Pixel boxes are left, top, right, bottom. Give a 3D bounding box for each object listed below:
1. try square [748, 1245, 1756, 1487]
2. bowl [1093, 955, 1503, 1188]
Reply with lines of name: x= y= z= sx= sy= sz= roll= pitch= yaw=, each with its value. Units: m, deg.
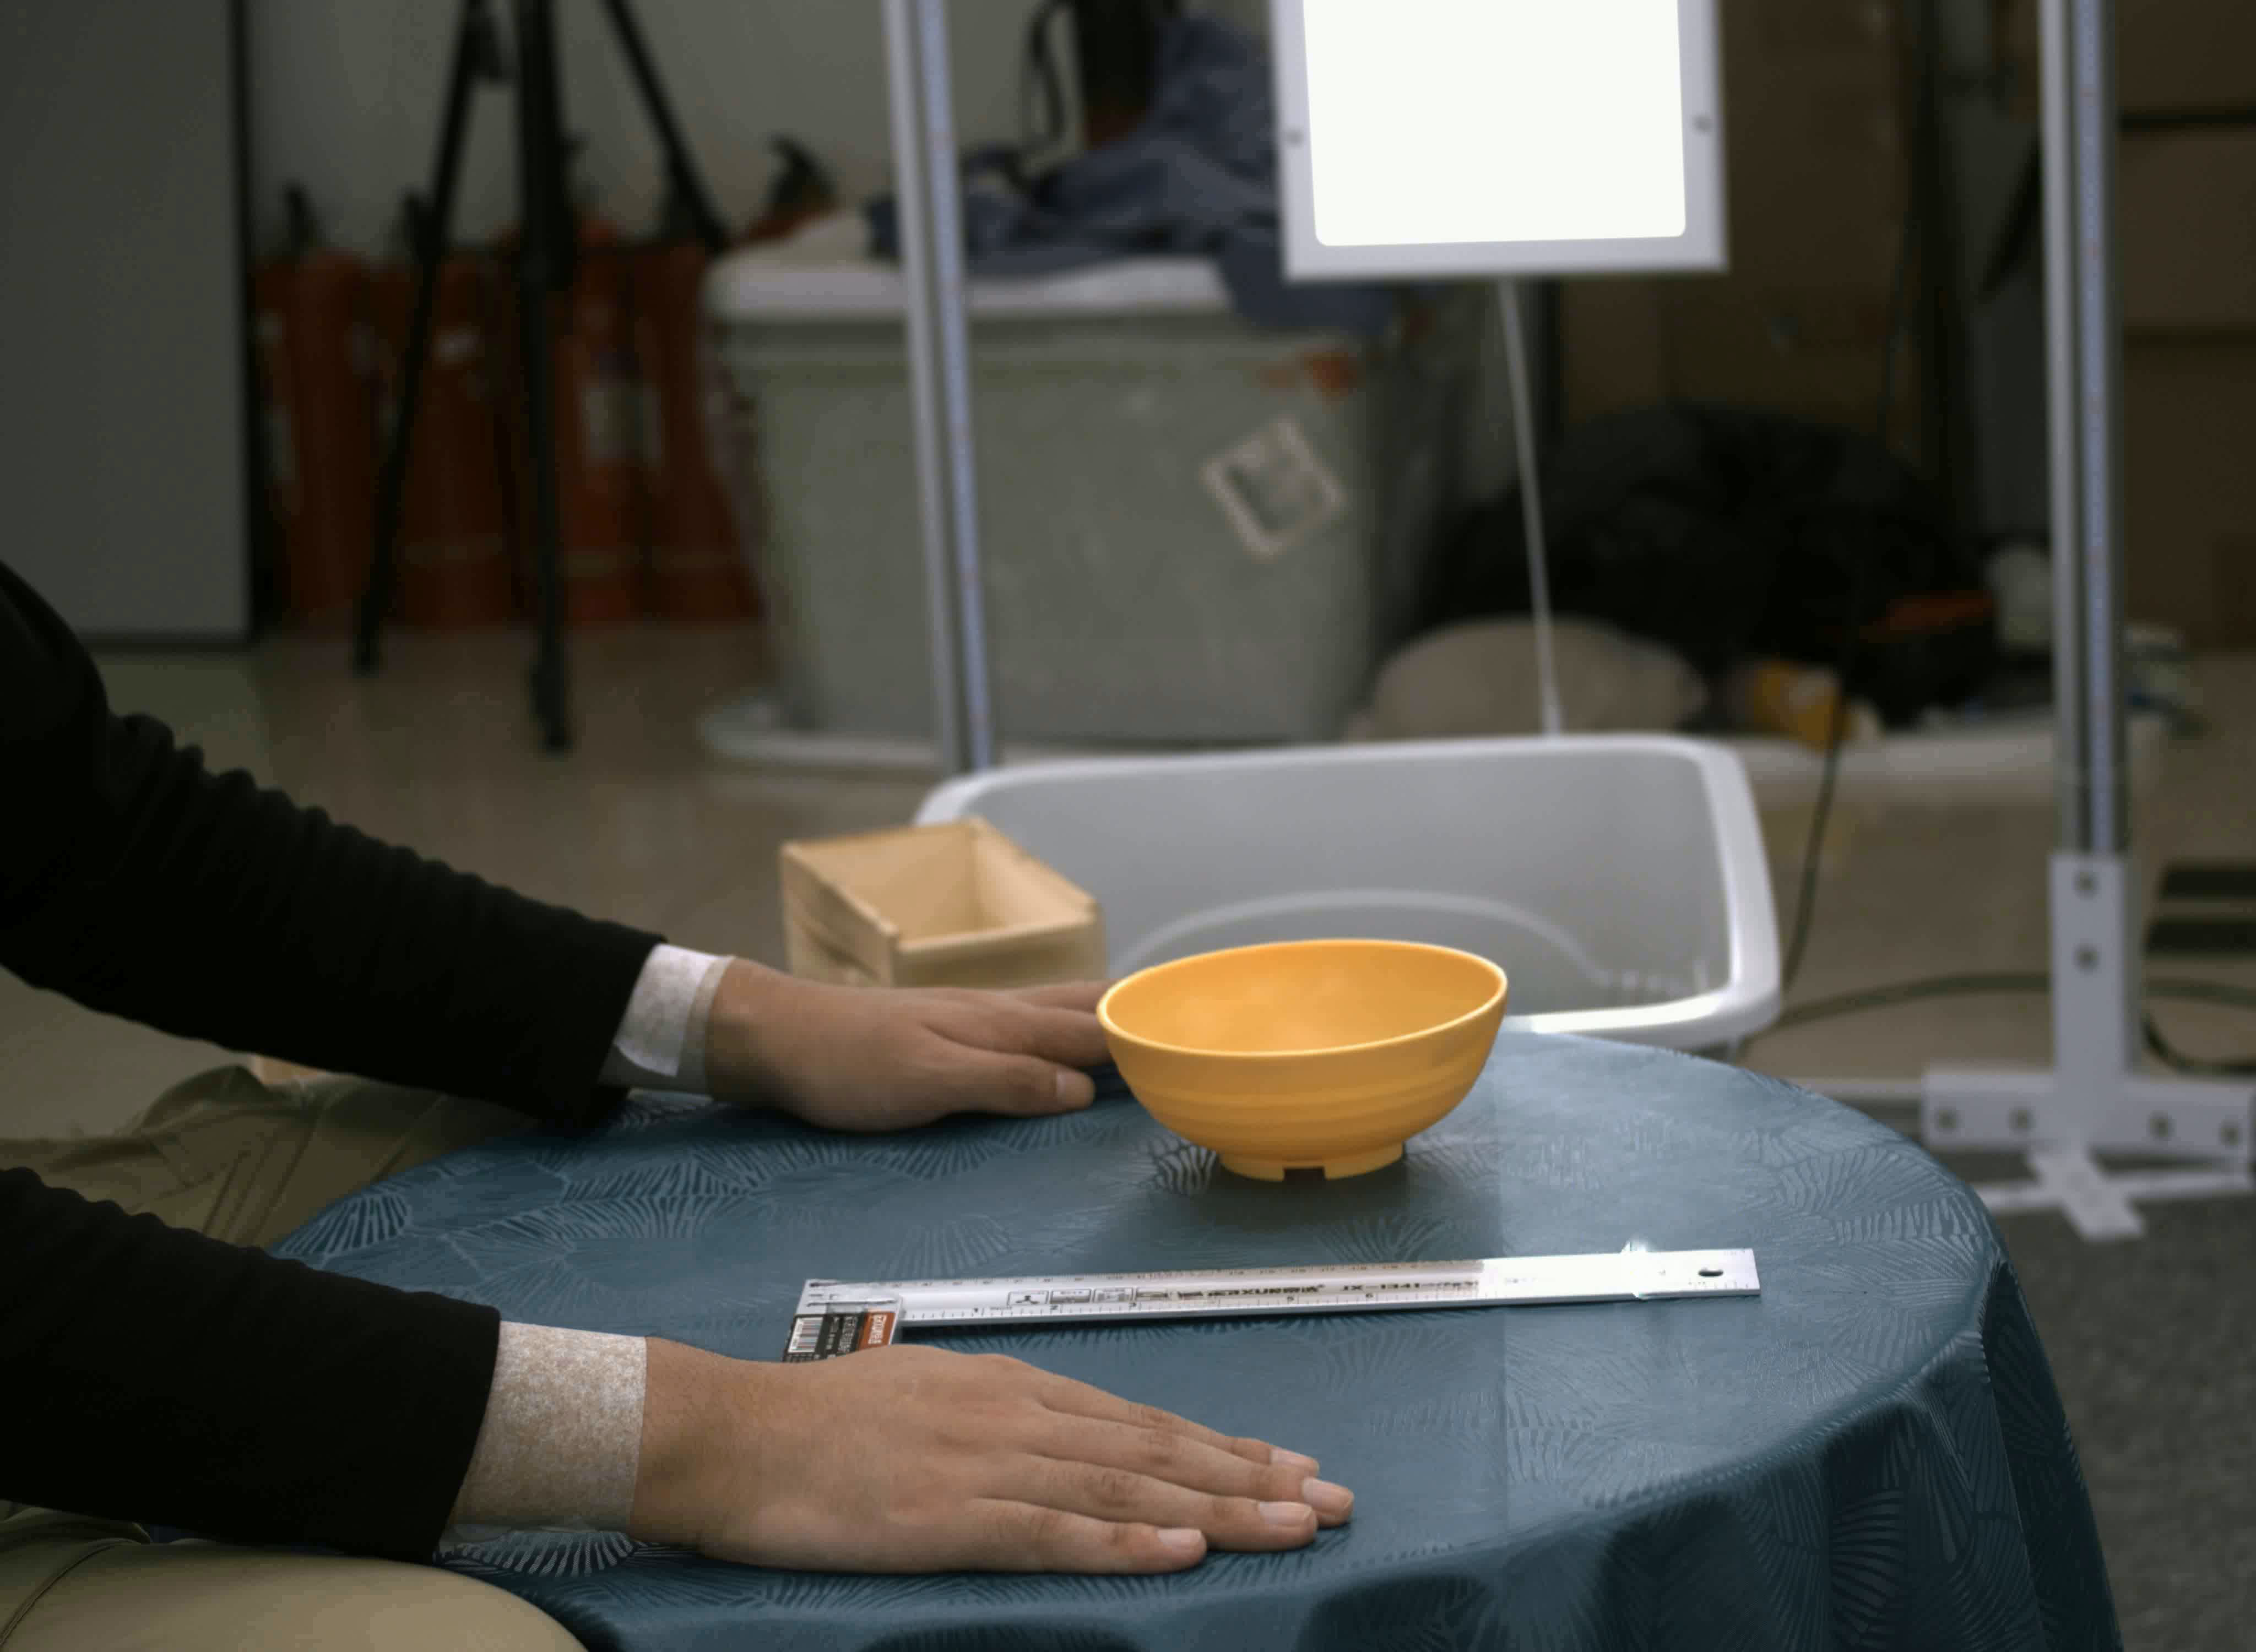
try square: x=0.043 y=0.165 z=1.721 sx=0.313 sy=0.016 sz=0.151 roll=-3 pitch=17 yaw=6
bowl: x=0.062 y=0.089 z=1.914 sx=0.145 sy=0.060 sz=0.145 roll=-7 pitch=11 yaw=0
